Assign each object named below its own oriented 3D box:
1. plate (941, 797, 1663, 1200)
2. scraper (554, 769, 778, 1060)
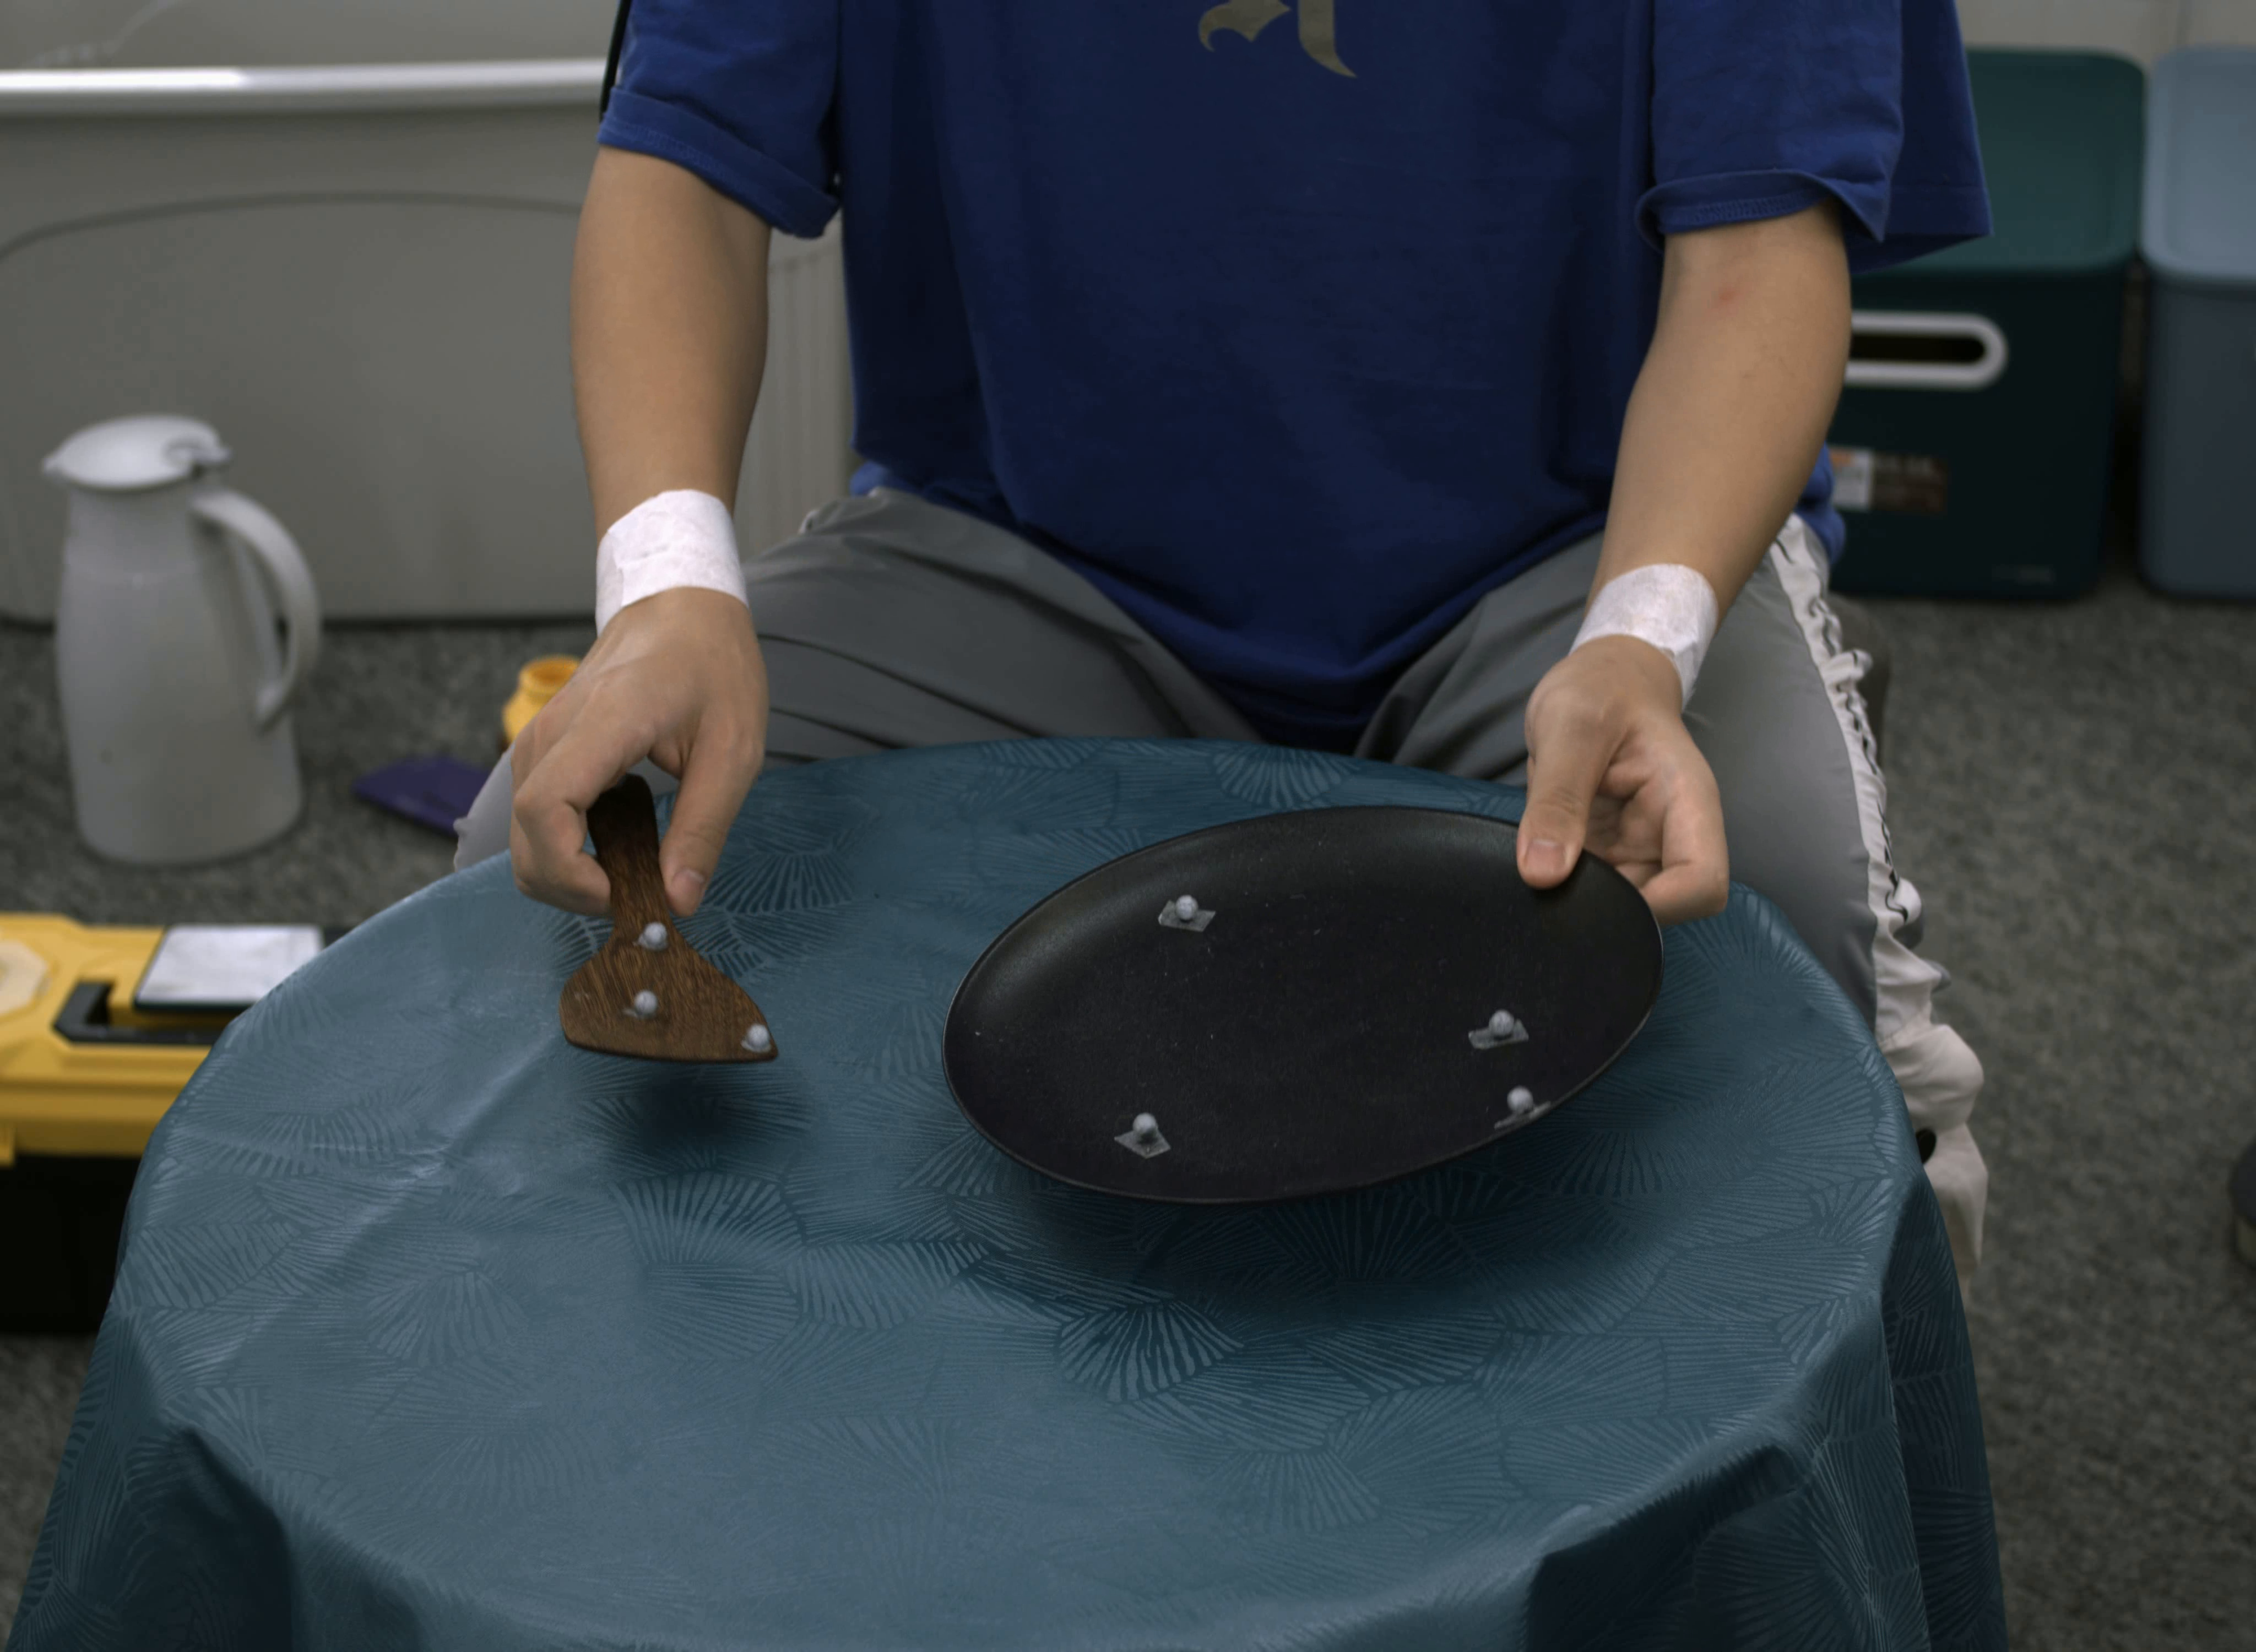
[{"bbox_3d":[0.058,0.061,1.871,0.243,0.023,0.248,-8,29,5],"label":"plate"},{"bbox_3d":[-0.171,0.030,1.968,0.075,0.011,0.214,7,26,-14],"label":"scraper"}]
